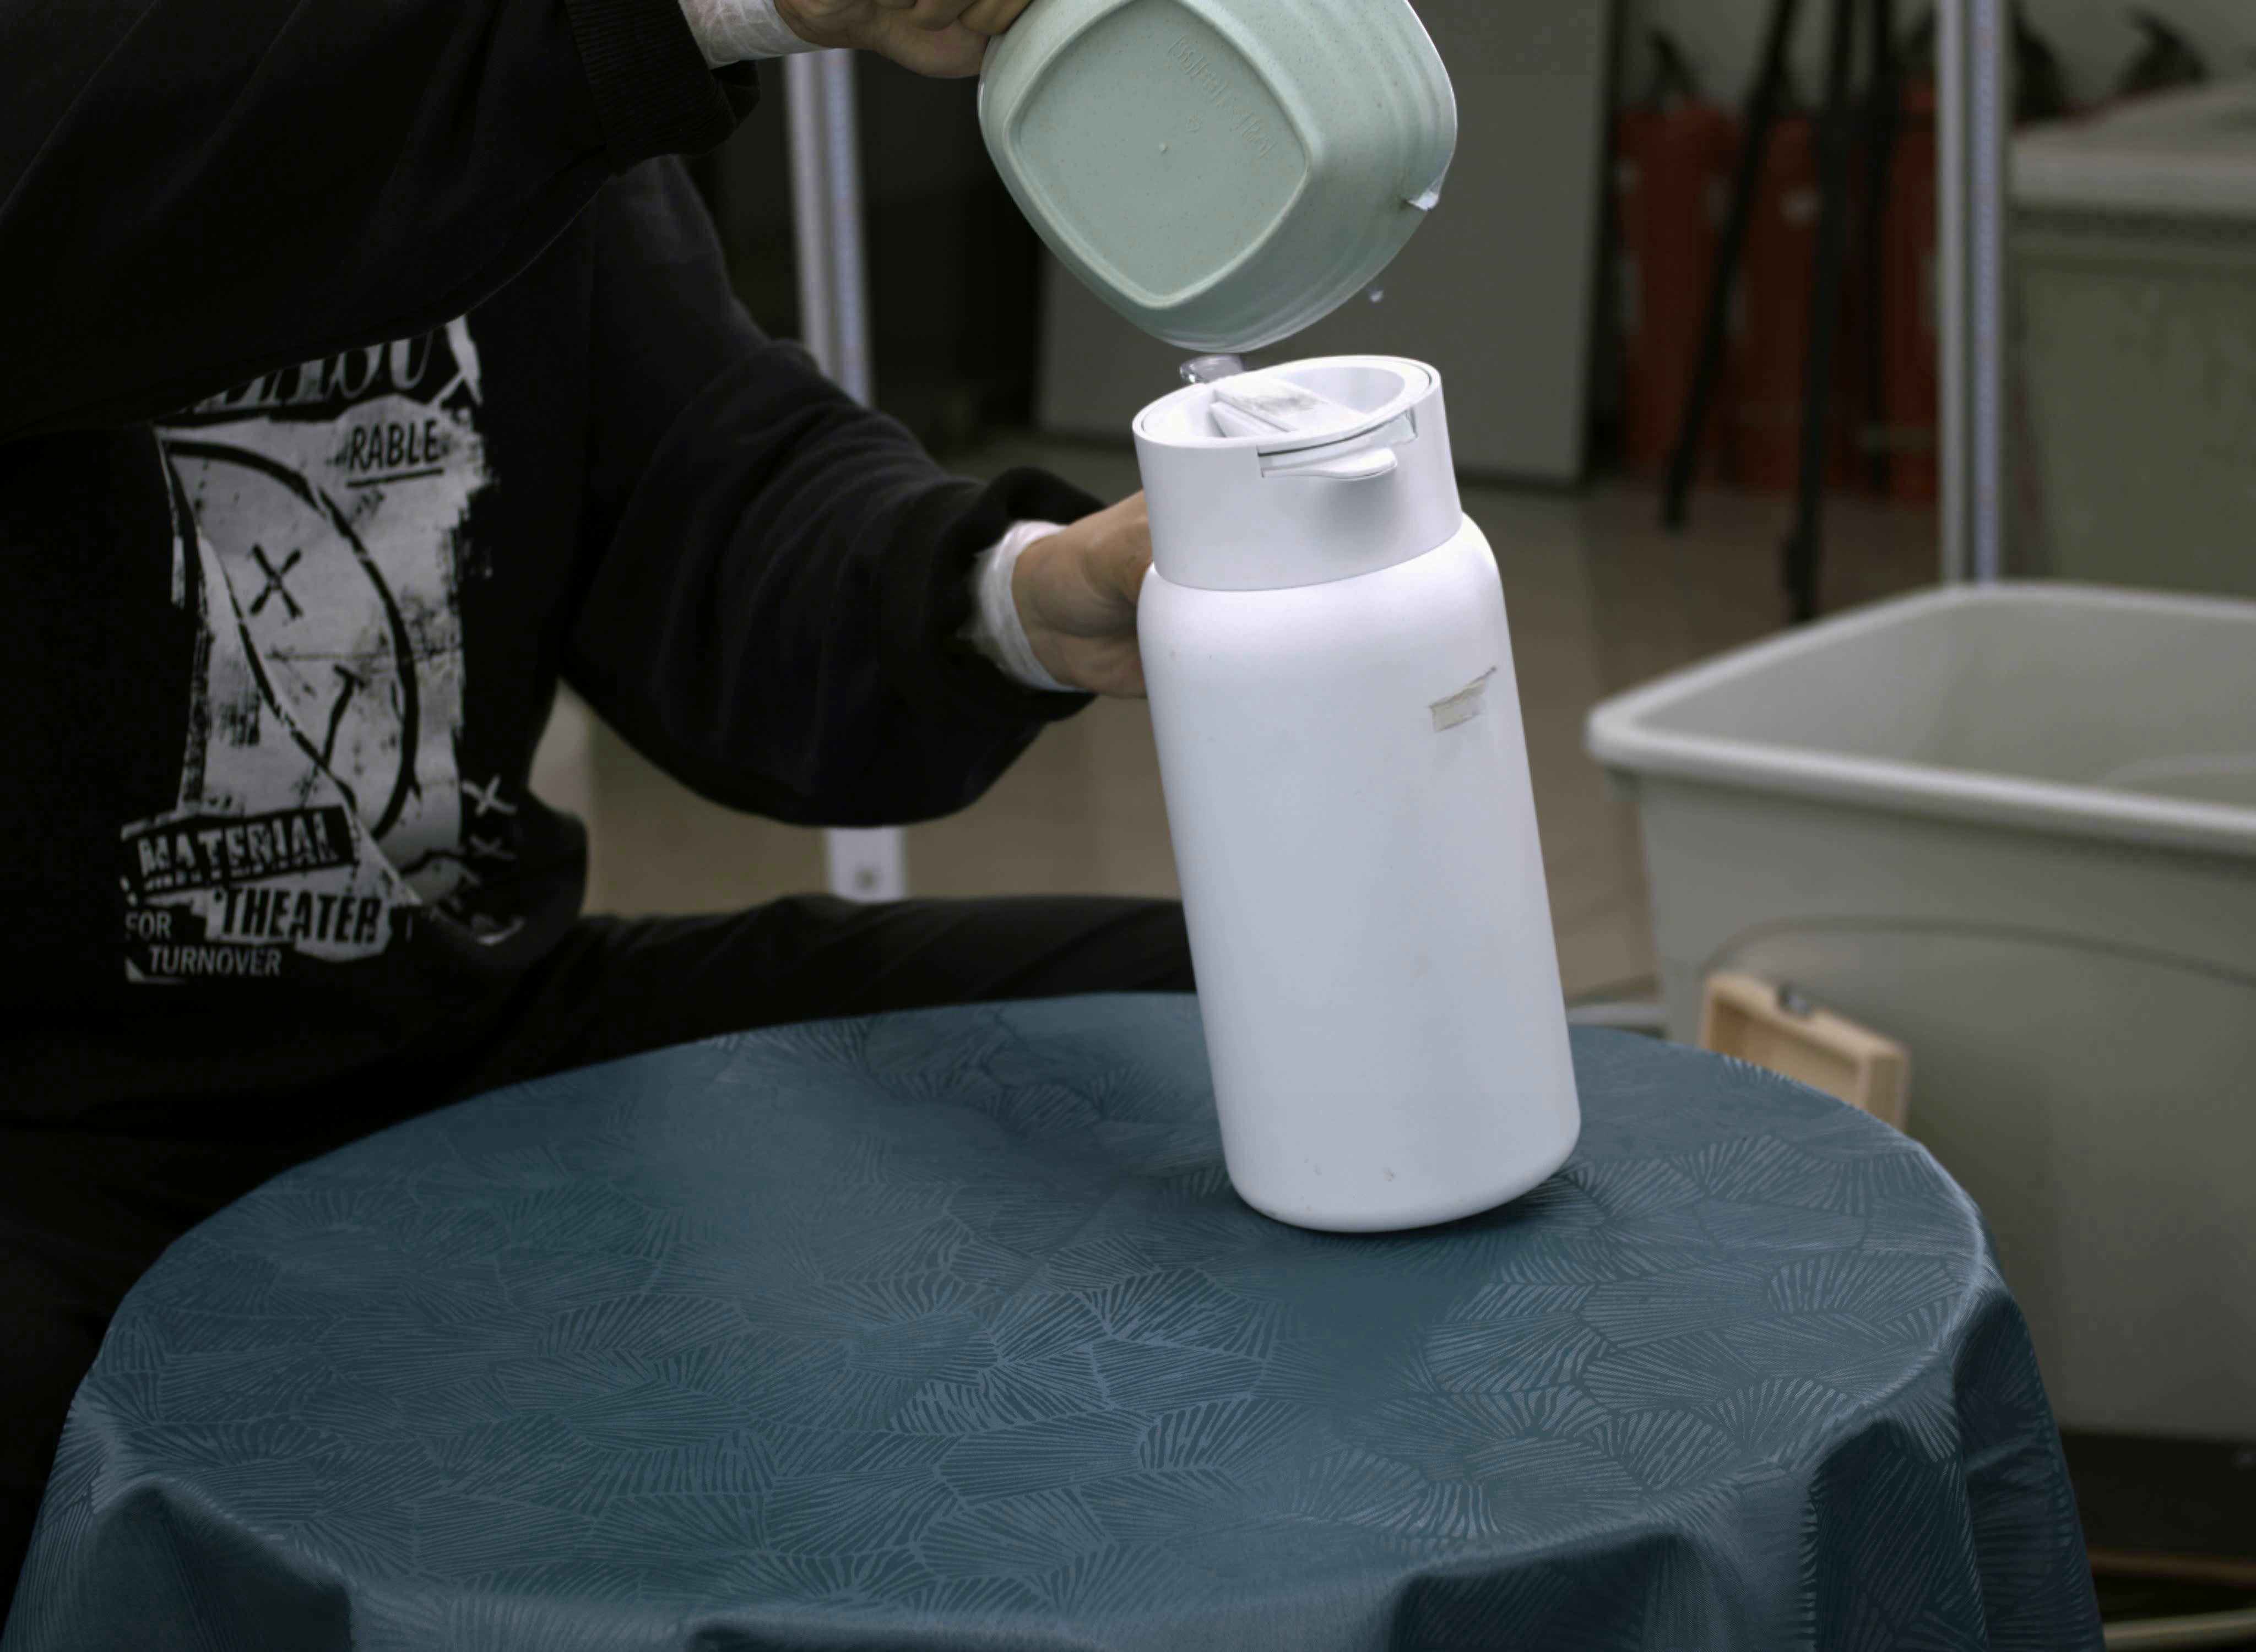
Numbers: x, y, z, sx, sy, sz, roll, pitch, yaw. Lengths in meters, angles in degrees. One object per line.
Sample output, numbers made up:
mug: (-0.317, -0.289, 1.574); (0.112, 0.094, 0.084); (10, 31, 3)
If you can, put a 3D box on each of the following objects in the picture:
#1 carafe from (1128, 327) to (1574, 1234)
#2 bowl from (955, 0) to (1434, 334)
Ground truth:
carafe: (0.061, -0.017, 1.732); (0.121, 0.271, 0.174); (-18, 19, -17)
bowl: (0.011, -0.213, 1.591); (0.151, 0.153, 0.058); (2, 20, 21)
